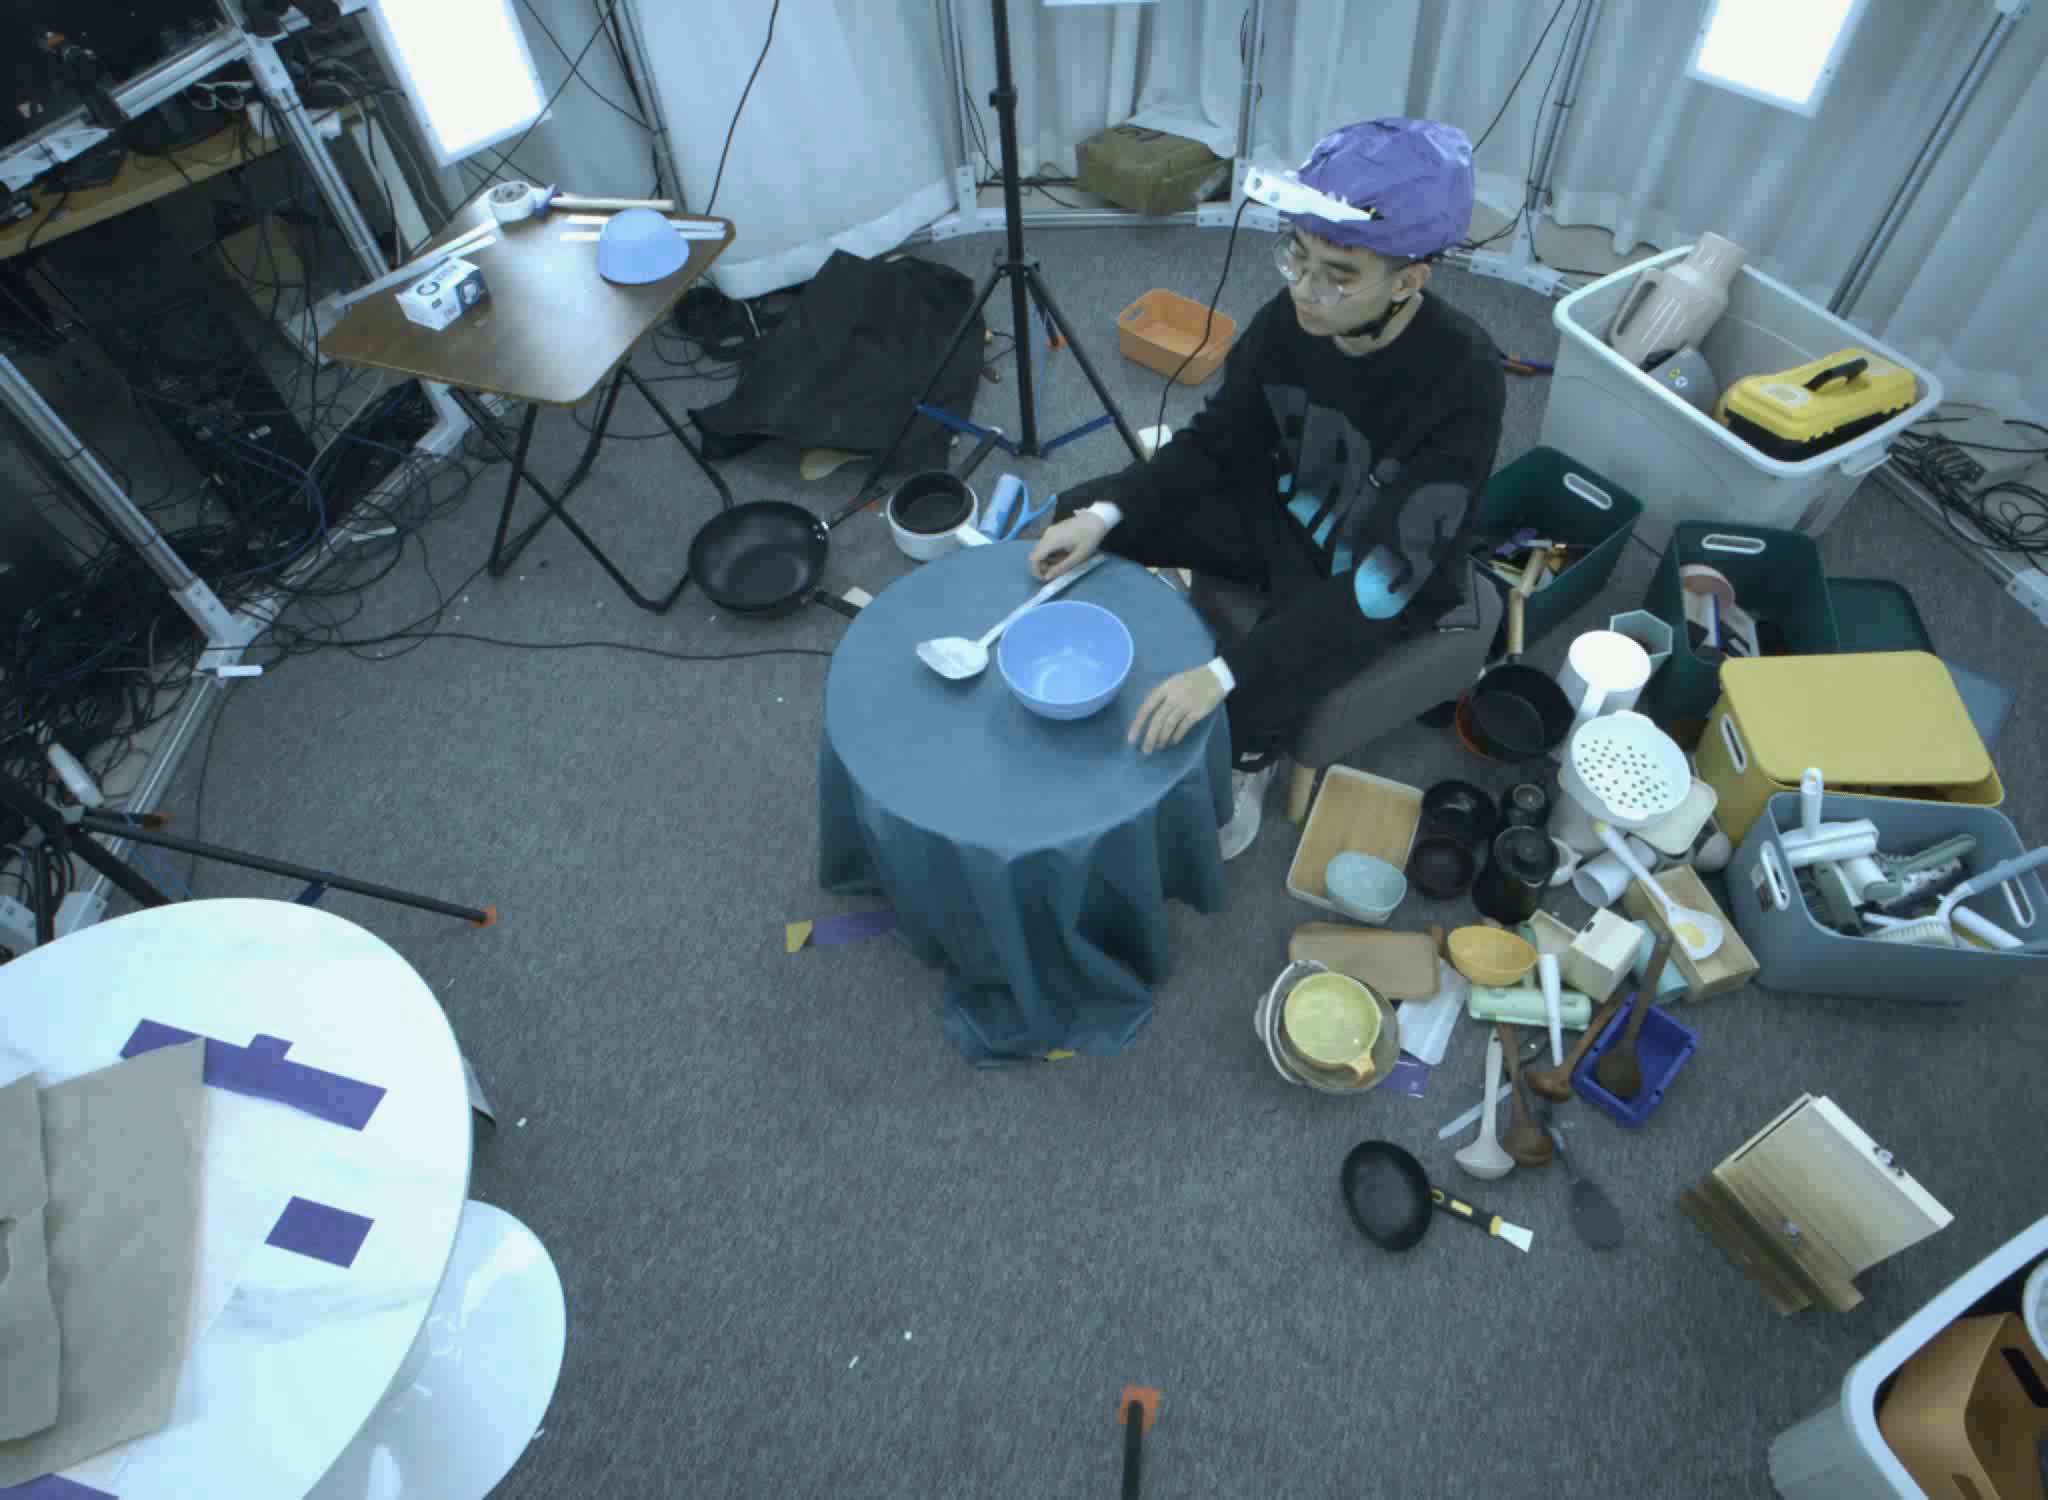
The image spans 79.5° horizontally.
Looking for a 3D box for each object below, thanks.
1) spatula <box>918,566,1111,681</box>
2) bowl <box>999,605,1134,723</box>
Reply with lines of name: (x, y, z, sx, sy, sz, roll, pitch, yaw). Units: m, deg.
spatula: (-0.004, -0.212, 1.923, 0.367, 0.045, 0.097, -37, 59, -22)
bowl: (0.065, -0.112, 1.817, 0.196, 0.096, 0.194, -1, 54, 3)
